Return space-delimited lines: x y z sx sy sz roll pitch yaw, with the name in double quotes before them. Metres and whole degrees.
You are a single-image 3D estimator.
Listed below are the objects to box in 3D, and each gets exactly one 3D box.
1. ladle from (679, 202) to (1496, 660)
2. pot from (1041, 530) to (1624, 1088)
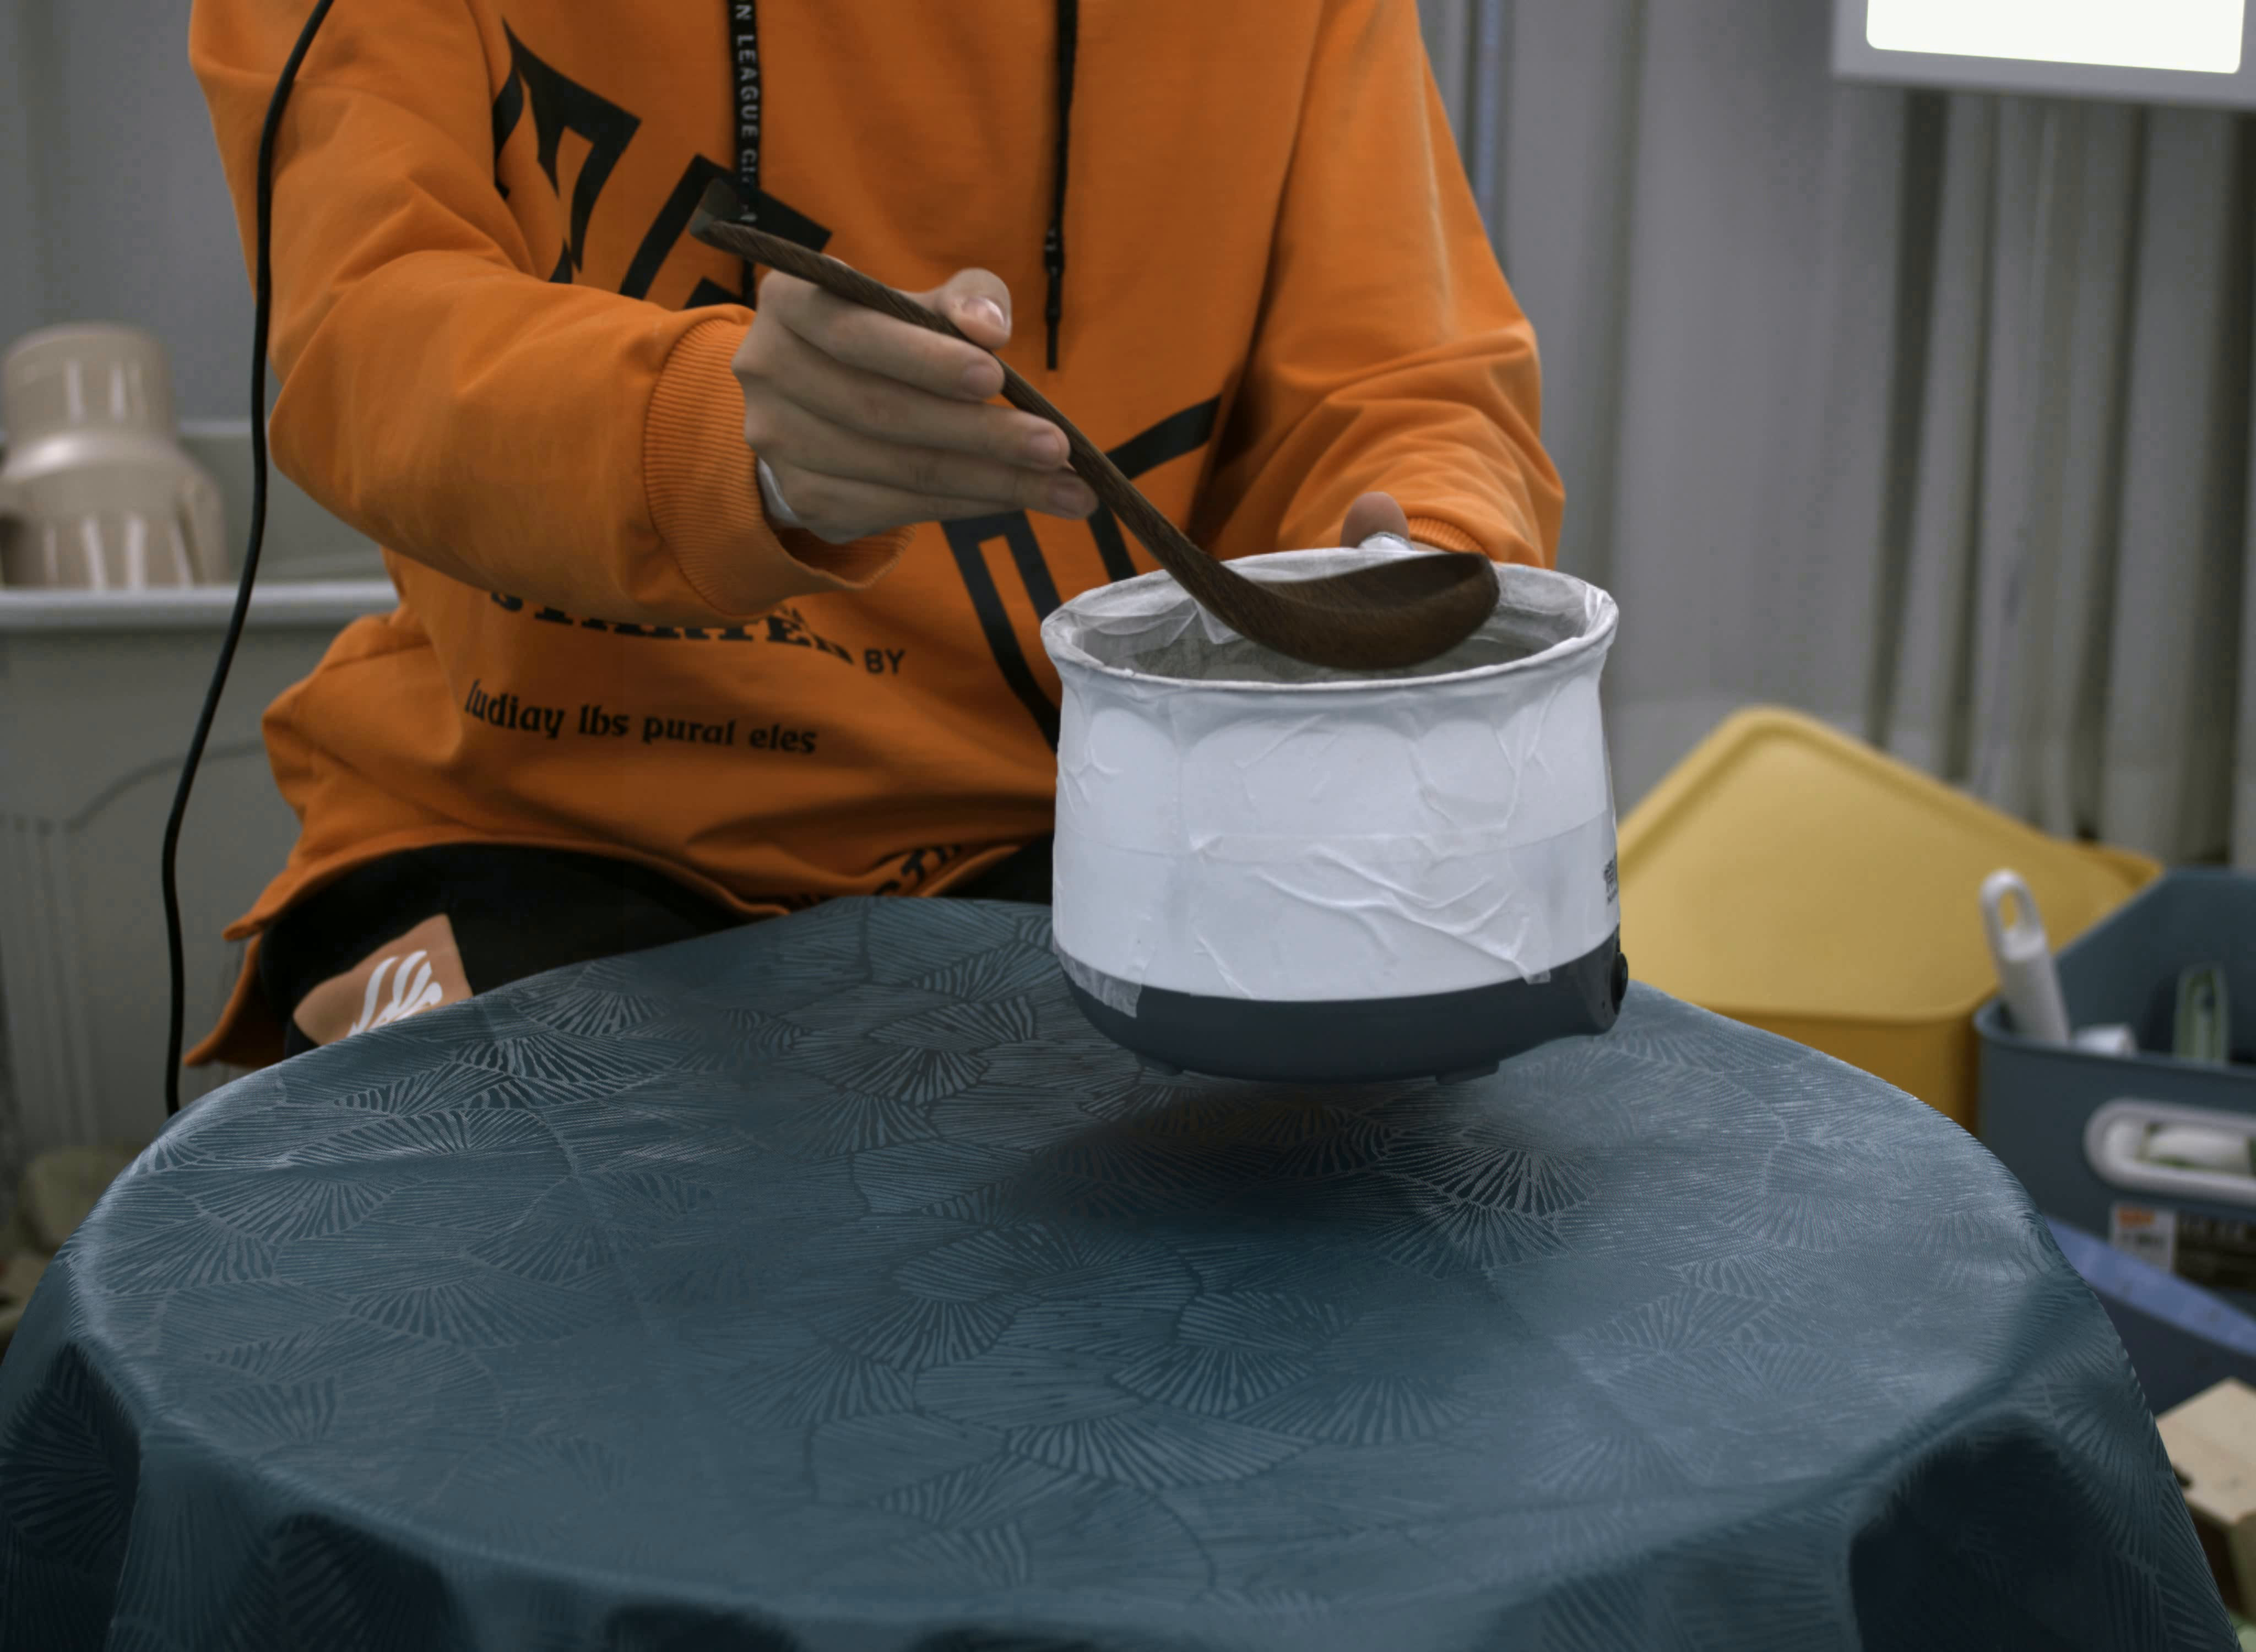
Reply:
"ladle" -0.007 -0.133 1.599 0.276 0.071 0.075 36 -4 -19
"pot" 0.069 -0.010 1.648 0.177 0.138 0.233 1 16 10
